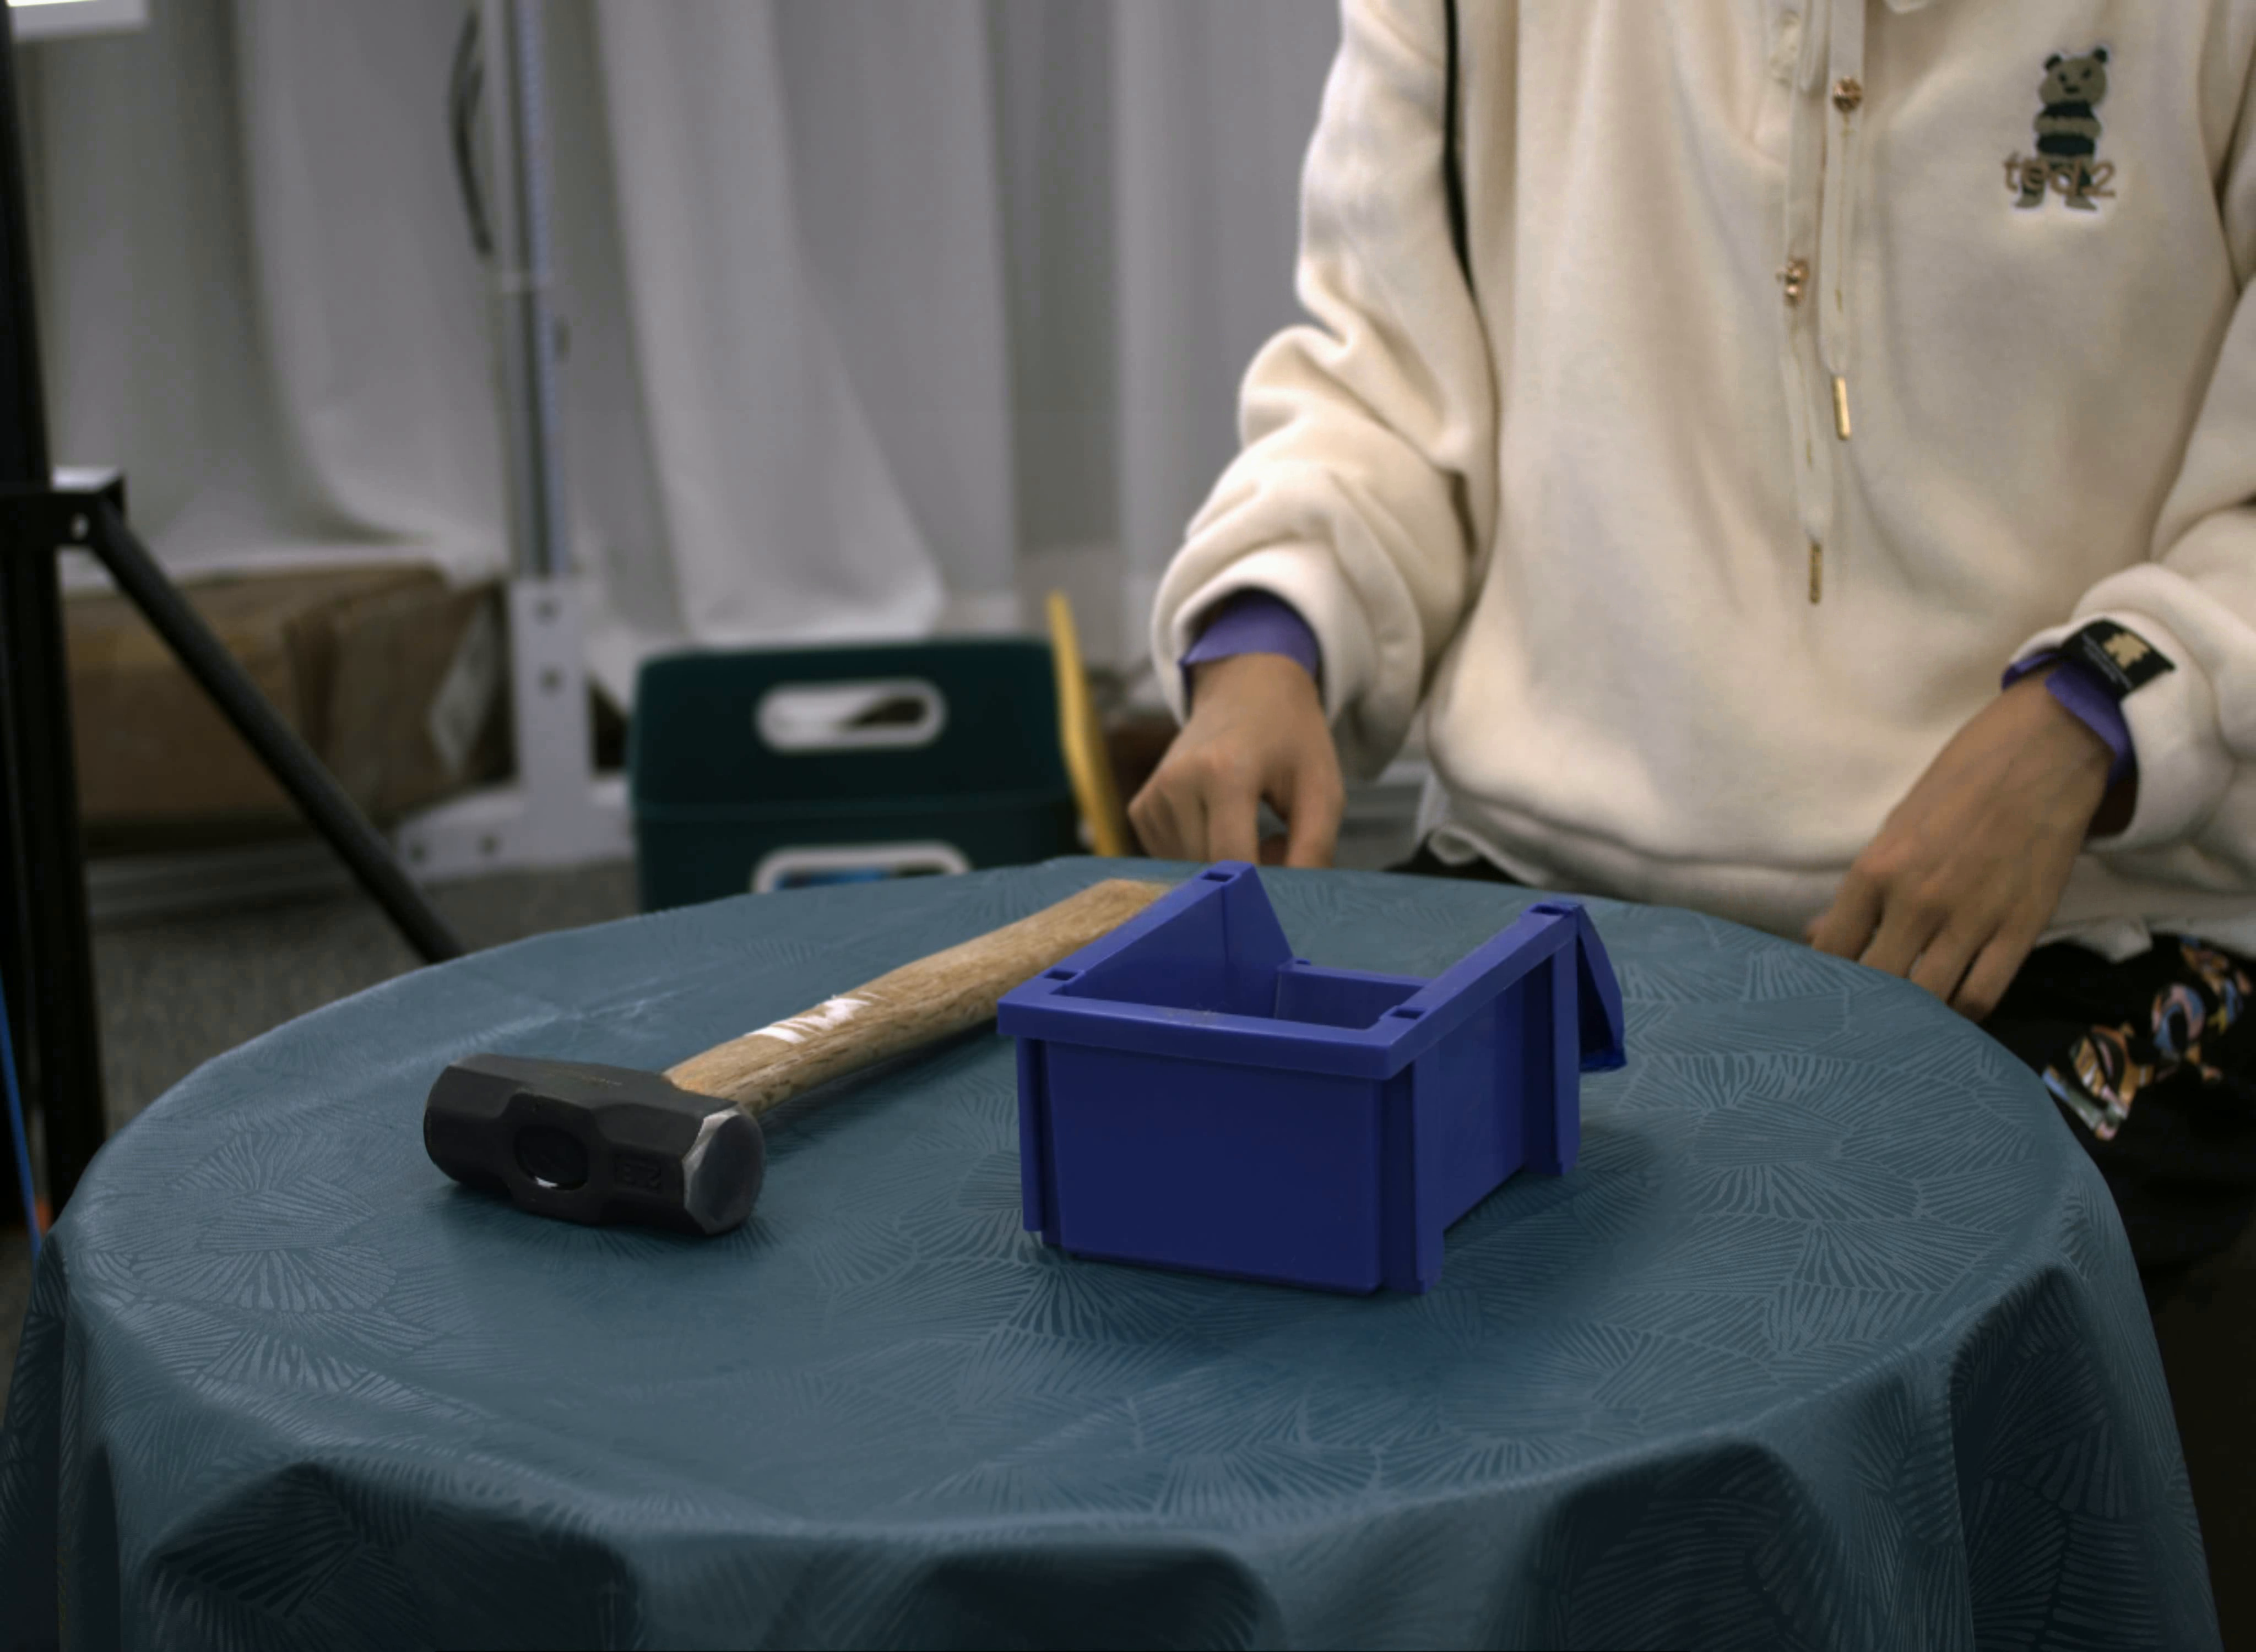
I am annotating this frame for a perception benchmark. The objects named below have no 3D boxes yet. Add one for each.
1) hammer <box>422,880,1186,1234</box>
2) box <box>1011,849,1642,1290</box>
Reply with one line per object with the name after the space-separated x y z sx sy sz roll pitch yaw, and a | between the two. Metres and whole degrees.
-0.080 0.063 1.668 0.109 0.038 0.298 9 18 36 | hammer
0.060 0.066 1.547 0.126 0.082 0.176 5 20 27 | box
